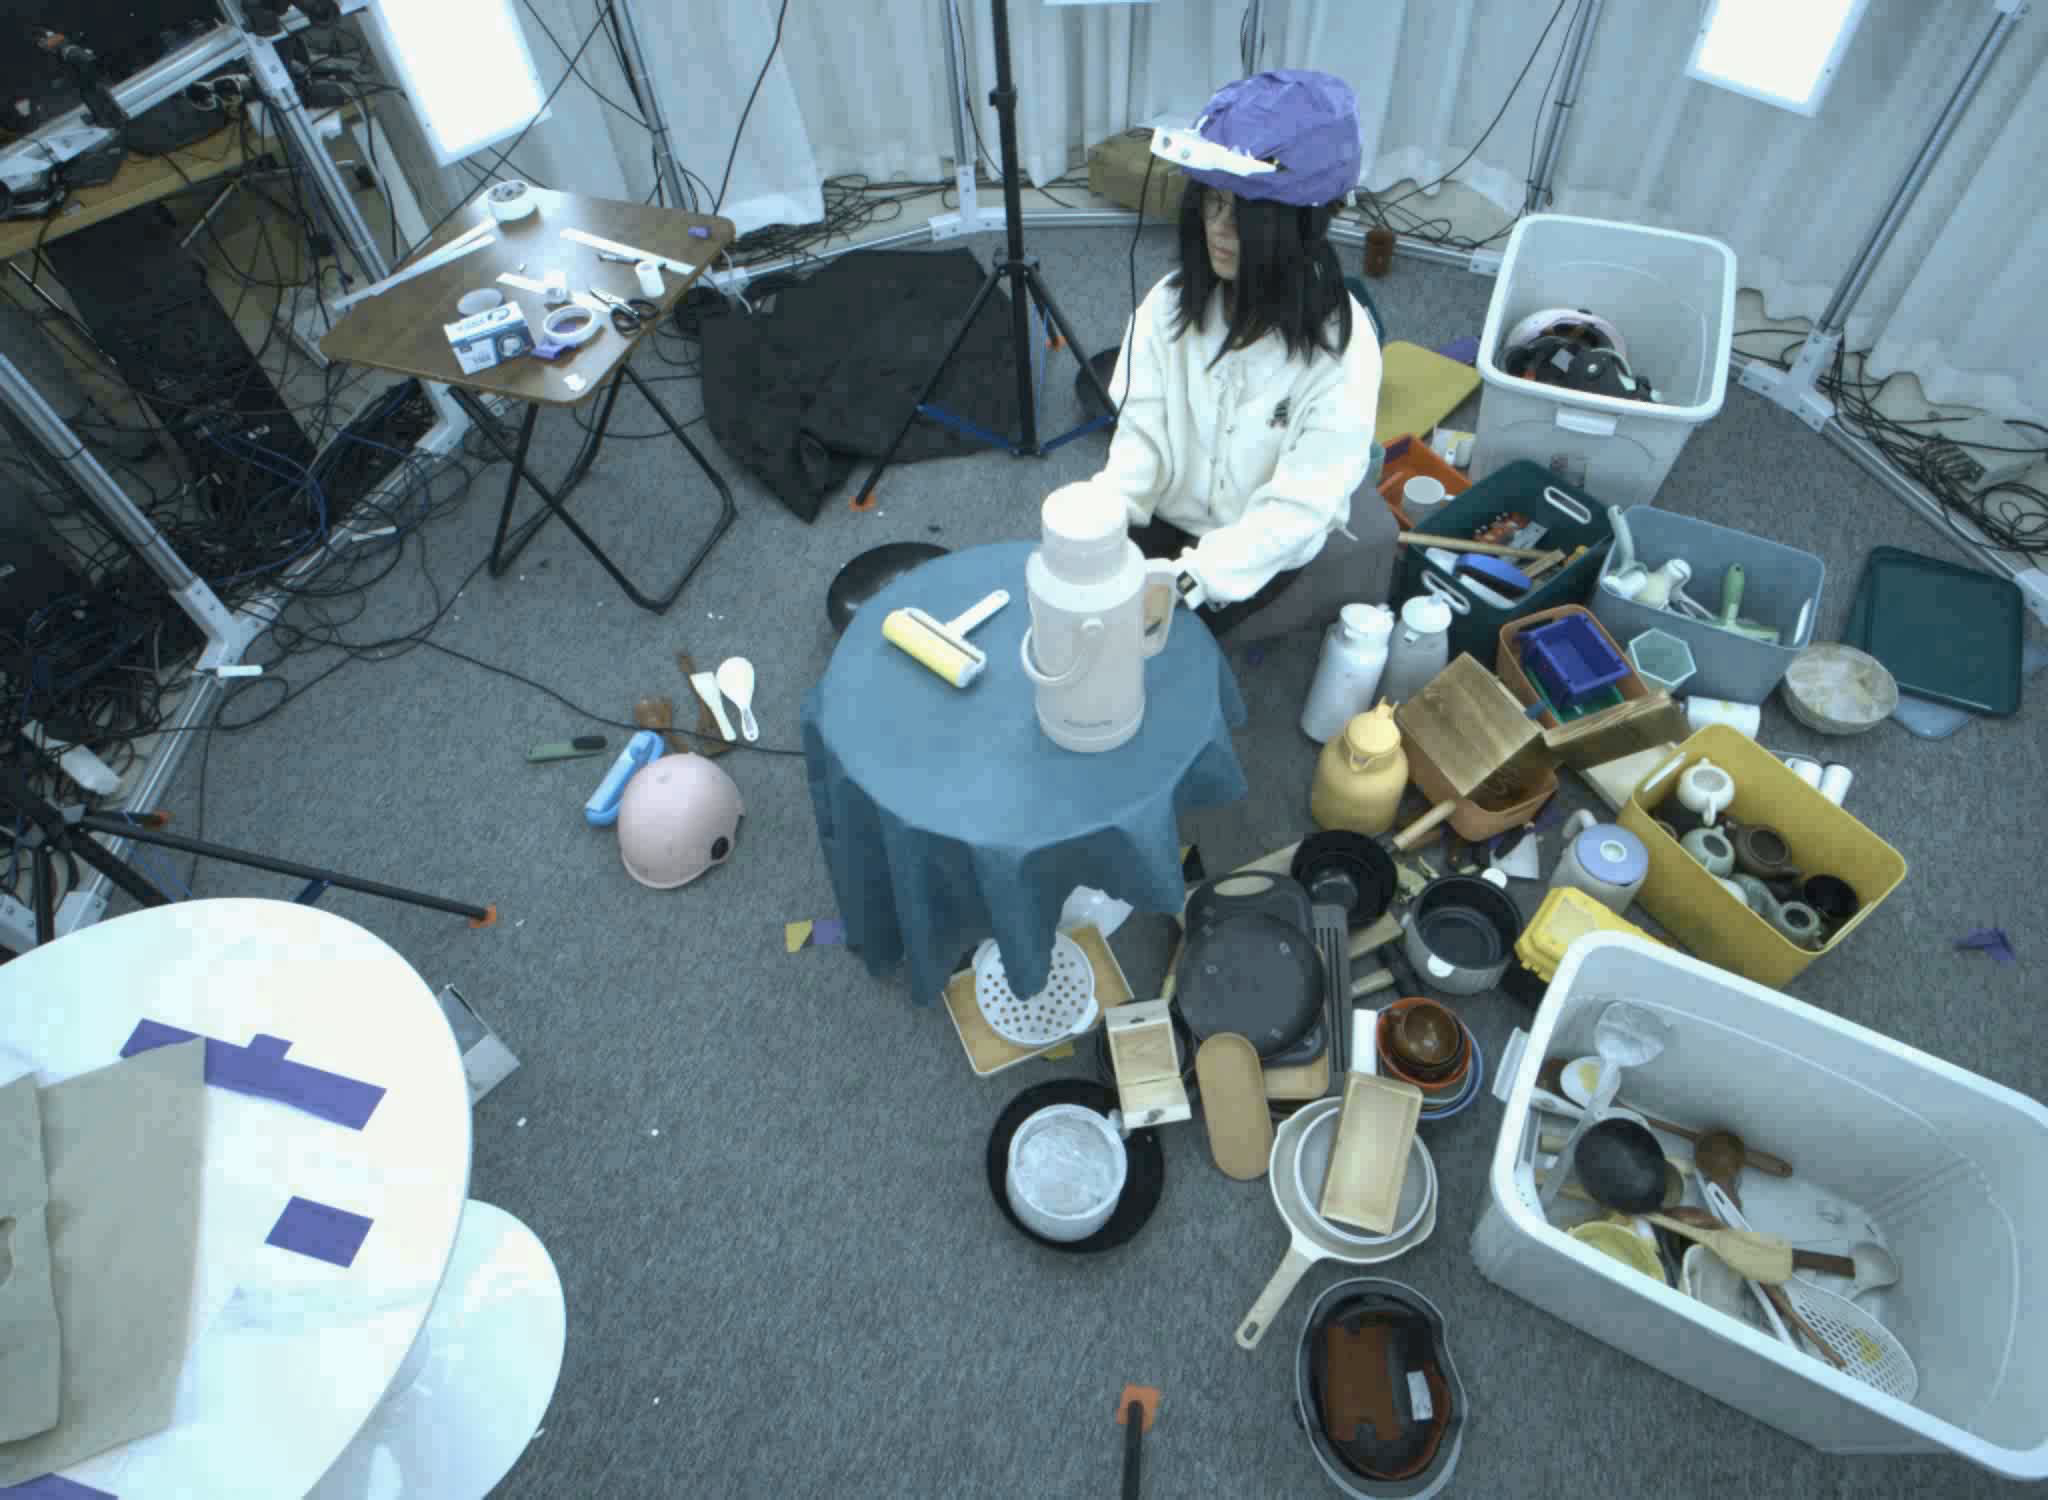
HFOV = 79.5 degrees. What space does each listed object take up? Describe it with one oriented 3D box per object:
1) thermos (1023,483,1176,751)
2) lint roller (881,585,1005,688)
[{"bbox_3d":[0.099,-0.176,1.665,0.207,0.411,0.173,-6,54,0],"label":"thermos"},{"bbox_3d":[-0.100,-0.203,1.901,0.171,0.052,0.193,34,69,23],"label":"lint roller"}]
